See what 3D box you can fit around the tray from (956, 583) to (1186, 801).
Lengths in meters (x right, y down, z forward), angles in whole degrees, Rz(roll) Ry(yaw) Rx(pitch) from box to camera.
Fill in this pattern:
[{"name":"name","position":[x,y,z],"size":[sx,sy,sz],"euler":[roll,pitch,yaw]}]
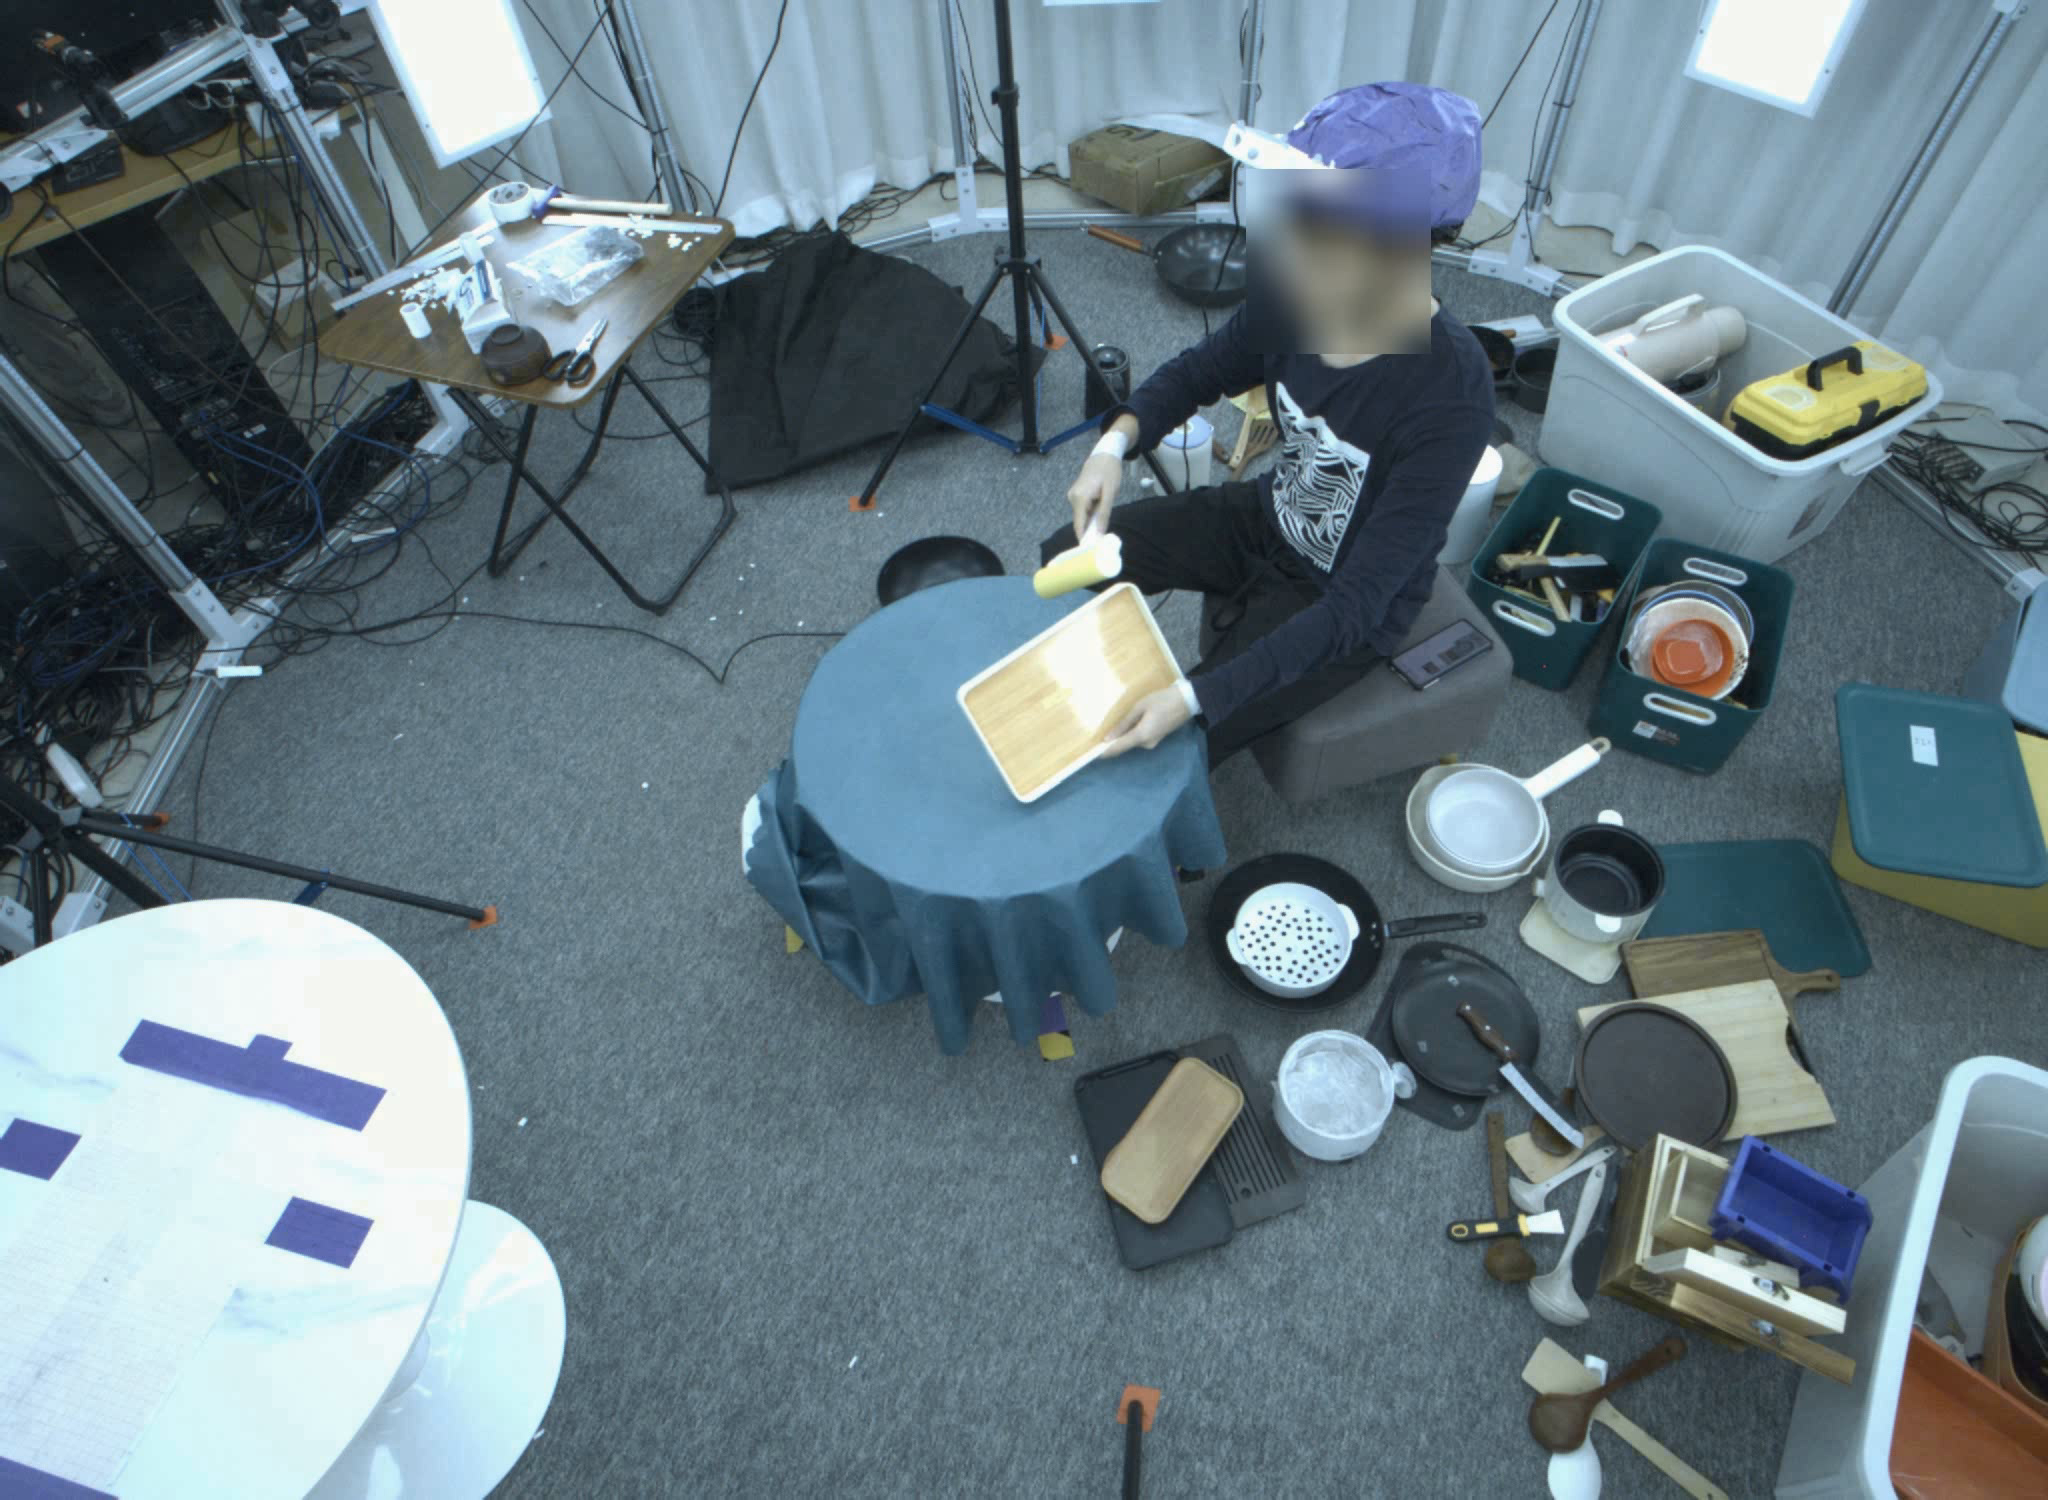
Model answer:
[{"name":"tray","position":[0.070,-0.083,1.730],"size":[0.302,0.194,0.027],"euler":[-34,21,-12]}]

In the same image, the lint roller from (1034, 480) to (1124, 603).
[{"name":"lint roller","position":[0.092,-0.322,1.818],"size":[0.052,0.171,0.191],"euler":[19,74,-31]}]
